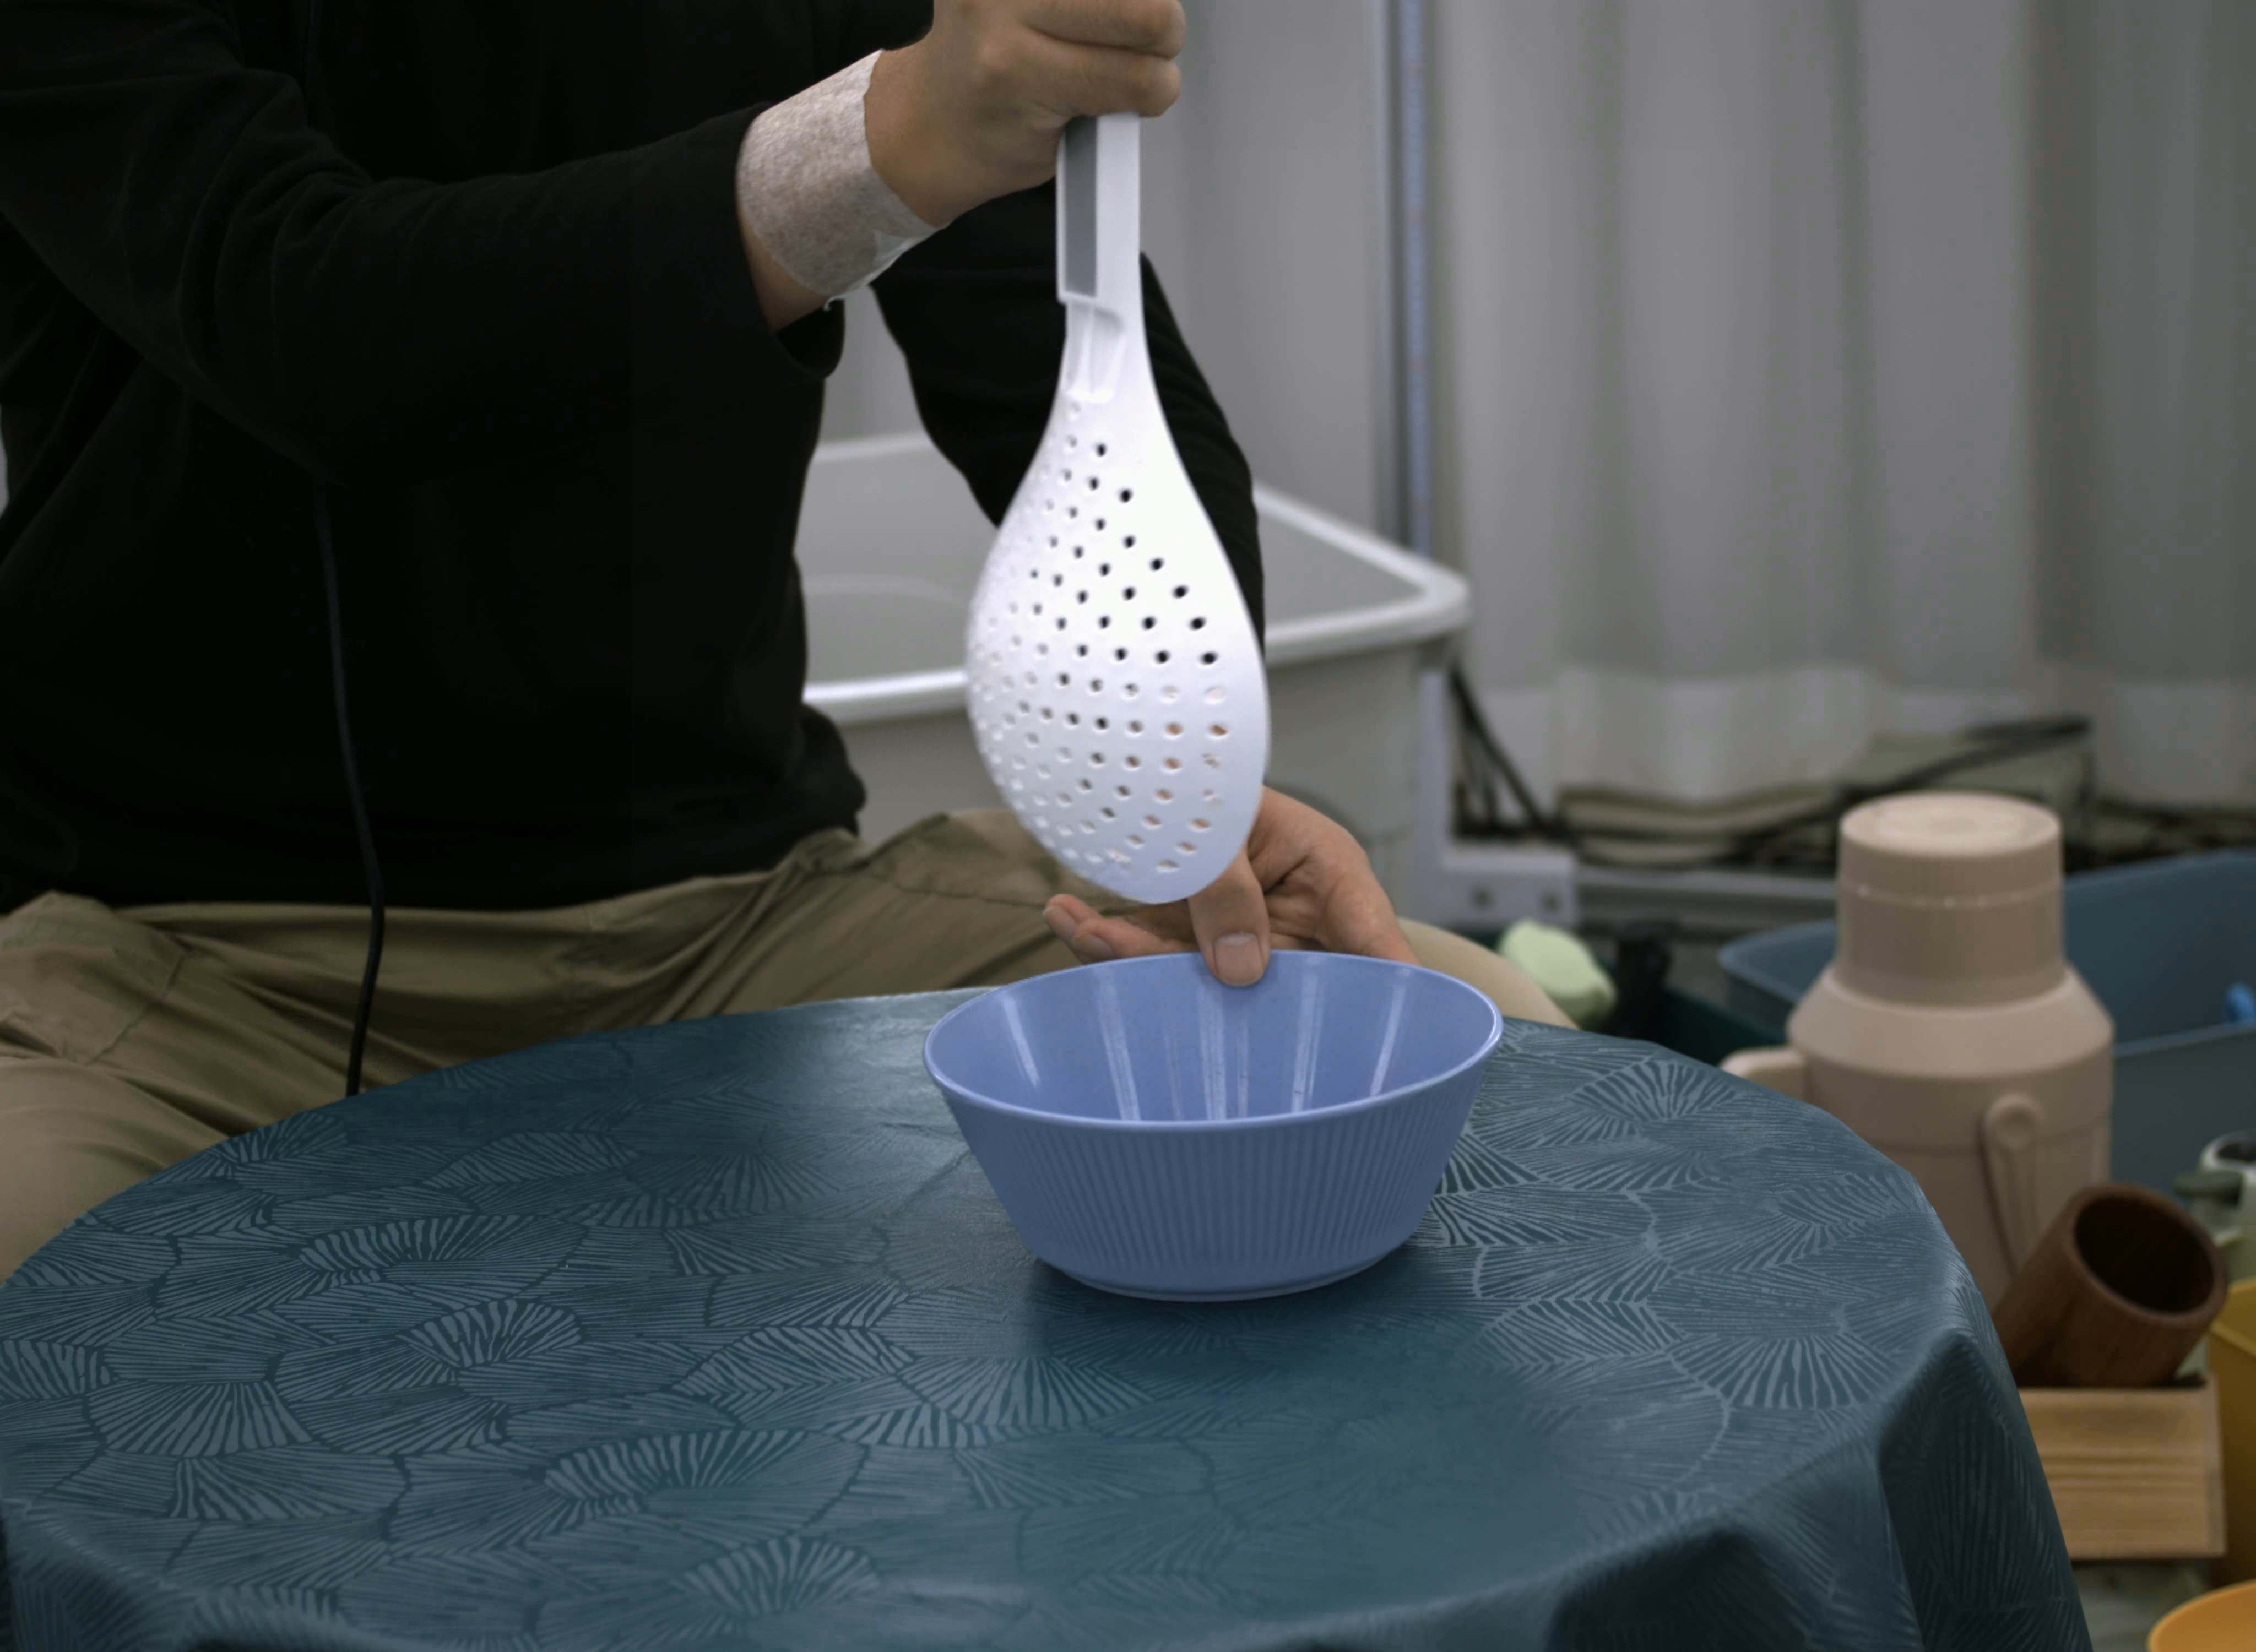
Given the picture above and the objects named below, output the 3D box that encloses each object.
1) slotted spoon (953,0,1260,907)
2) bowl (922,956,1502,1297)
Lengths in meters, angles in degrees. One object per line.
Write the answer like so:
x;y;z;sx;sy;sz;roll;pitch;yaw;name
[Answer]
-0.009;-0.144;1.657;0.045;0.349;0.137;-6;16;-40;slotted spoon
0.027;0.093;1.655;0.175;0.070;0.177;-3;13;0;bowl
